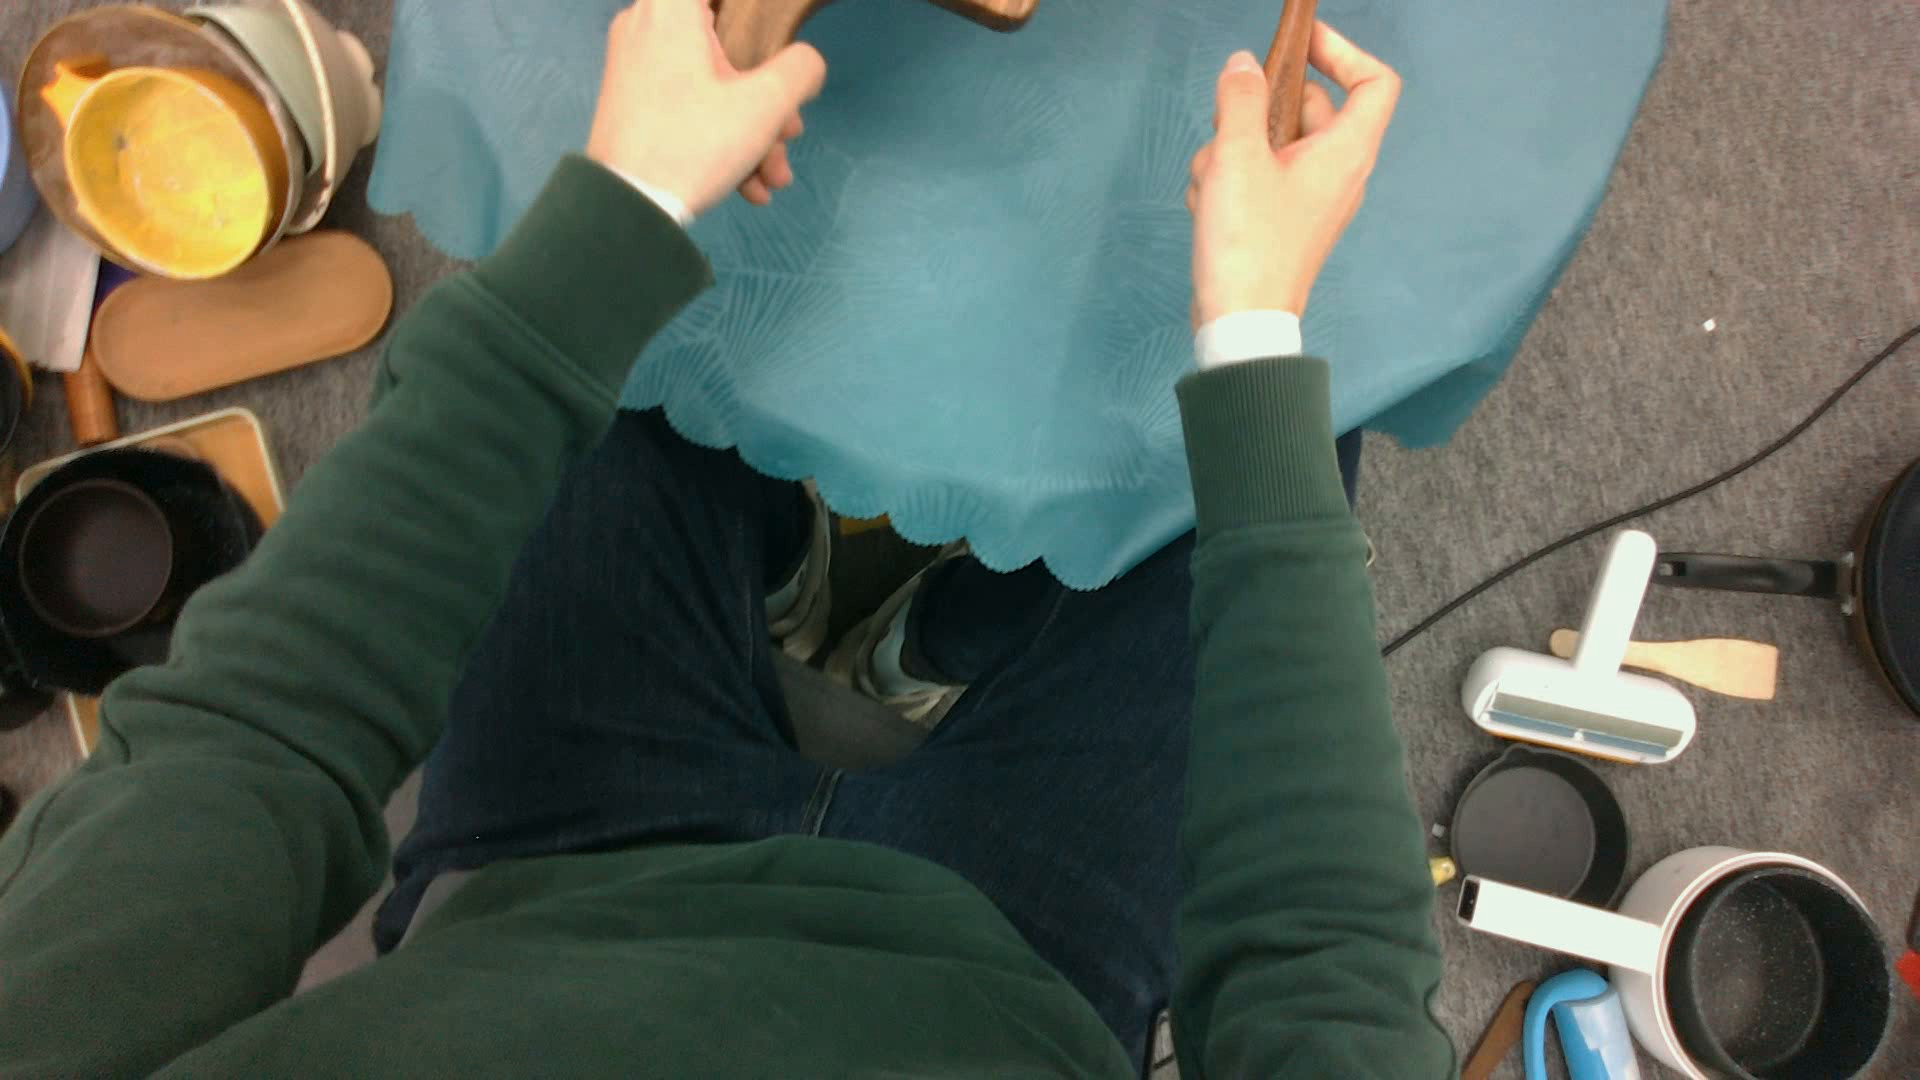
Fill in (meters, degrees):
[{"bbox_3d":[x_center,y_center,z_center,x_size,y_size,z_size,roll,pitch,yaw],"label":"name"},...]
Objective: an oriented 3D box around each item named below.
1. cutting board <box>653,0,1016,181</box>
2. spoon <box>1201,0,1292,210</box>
[{"bbox_3d":[-0.050,-0.308,0.536,0.201,0.023,0.352,19,87,-11],"label":"cutting board"},{"bbox_3d":[0.131,-0.233,0.556,0.075,0.017,0.216,15,80,-1],"label":"spoon"}]
